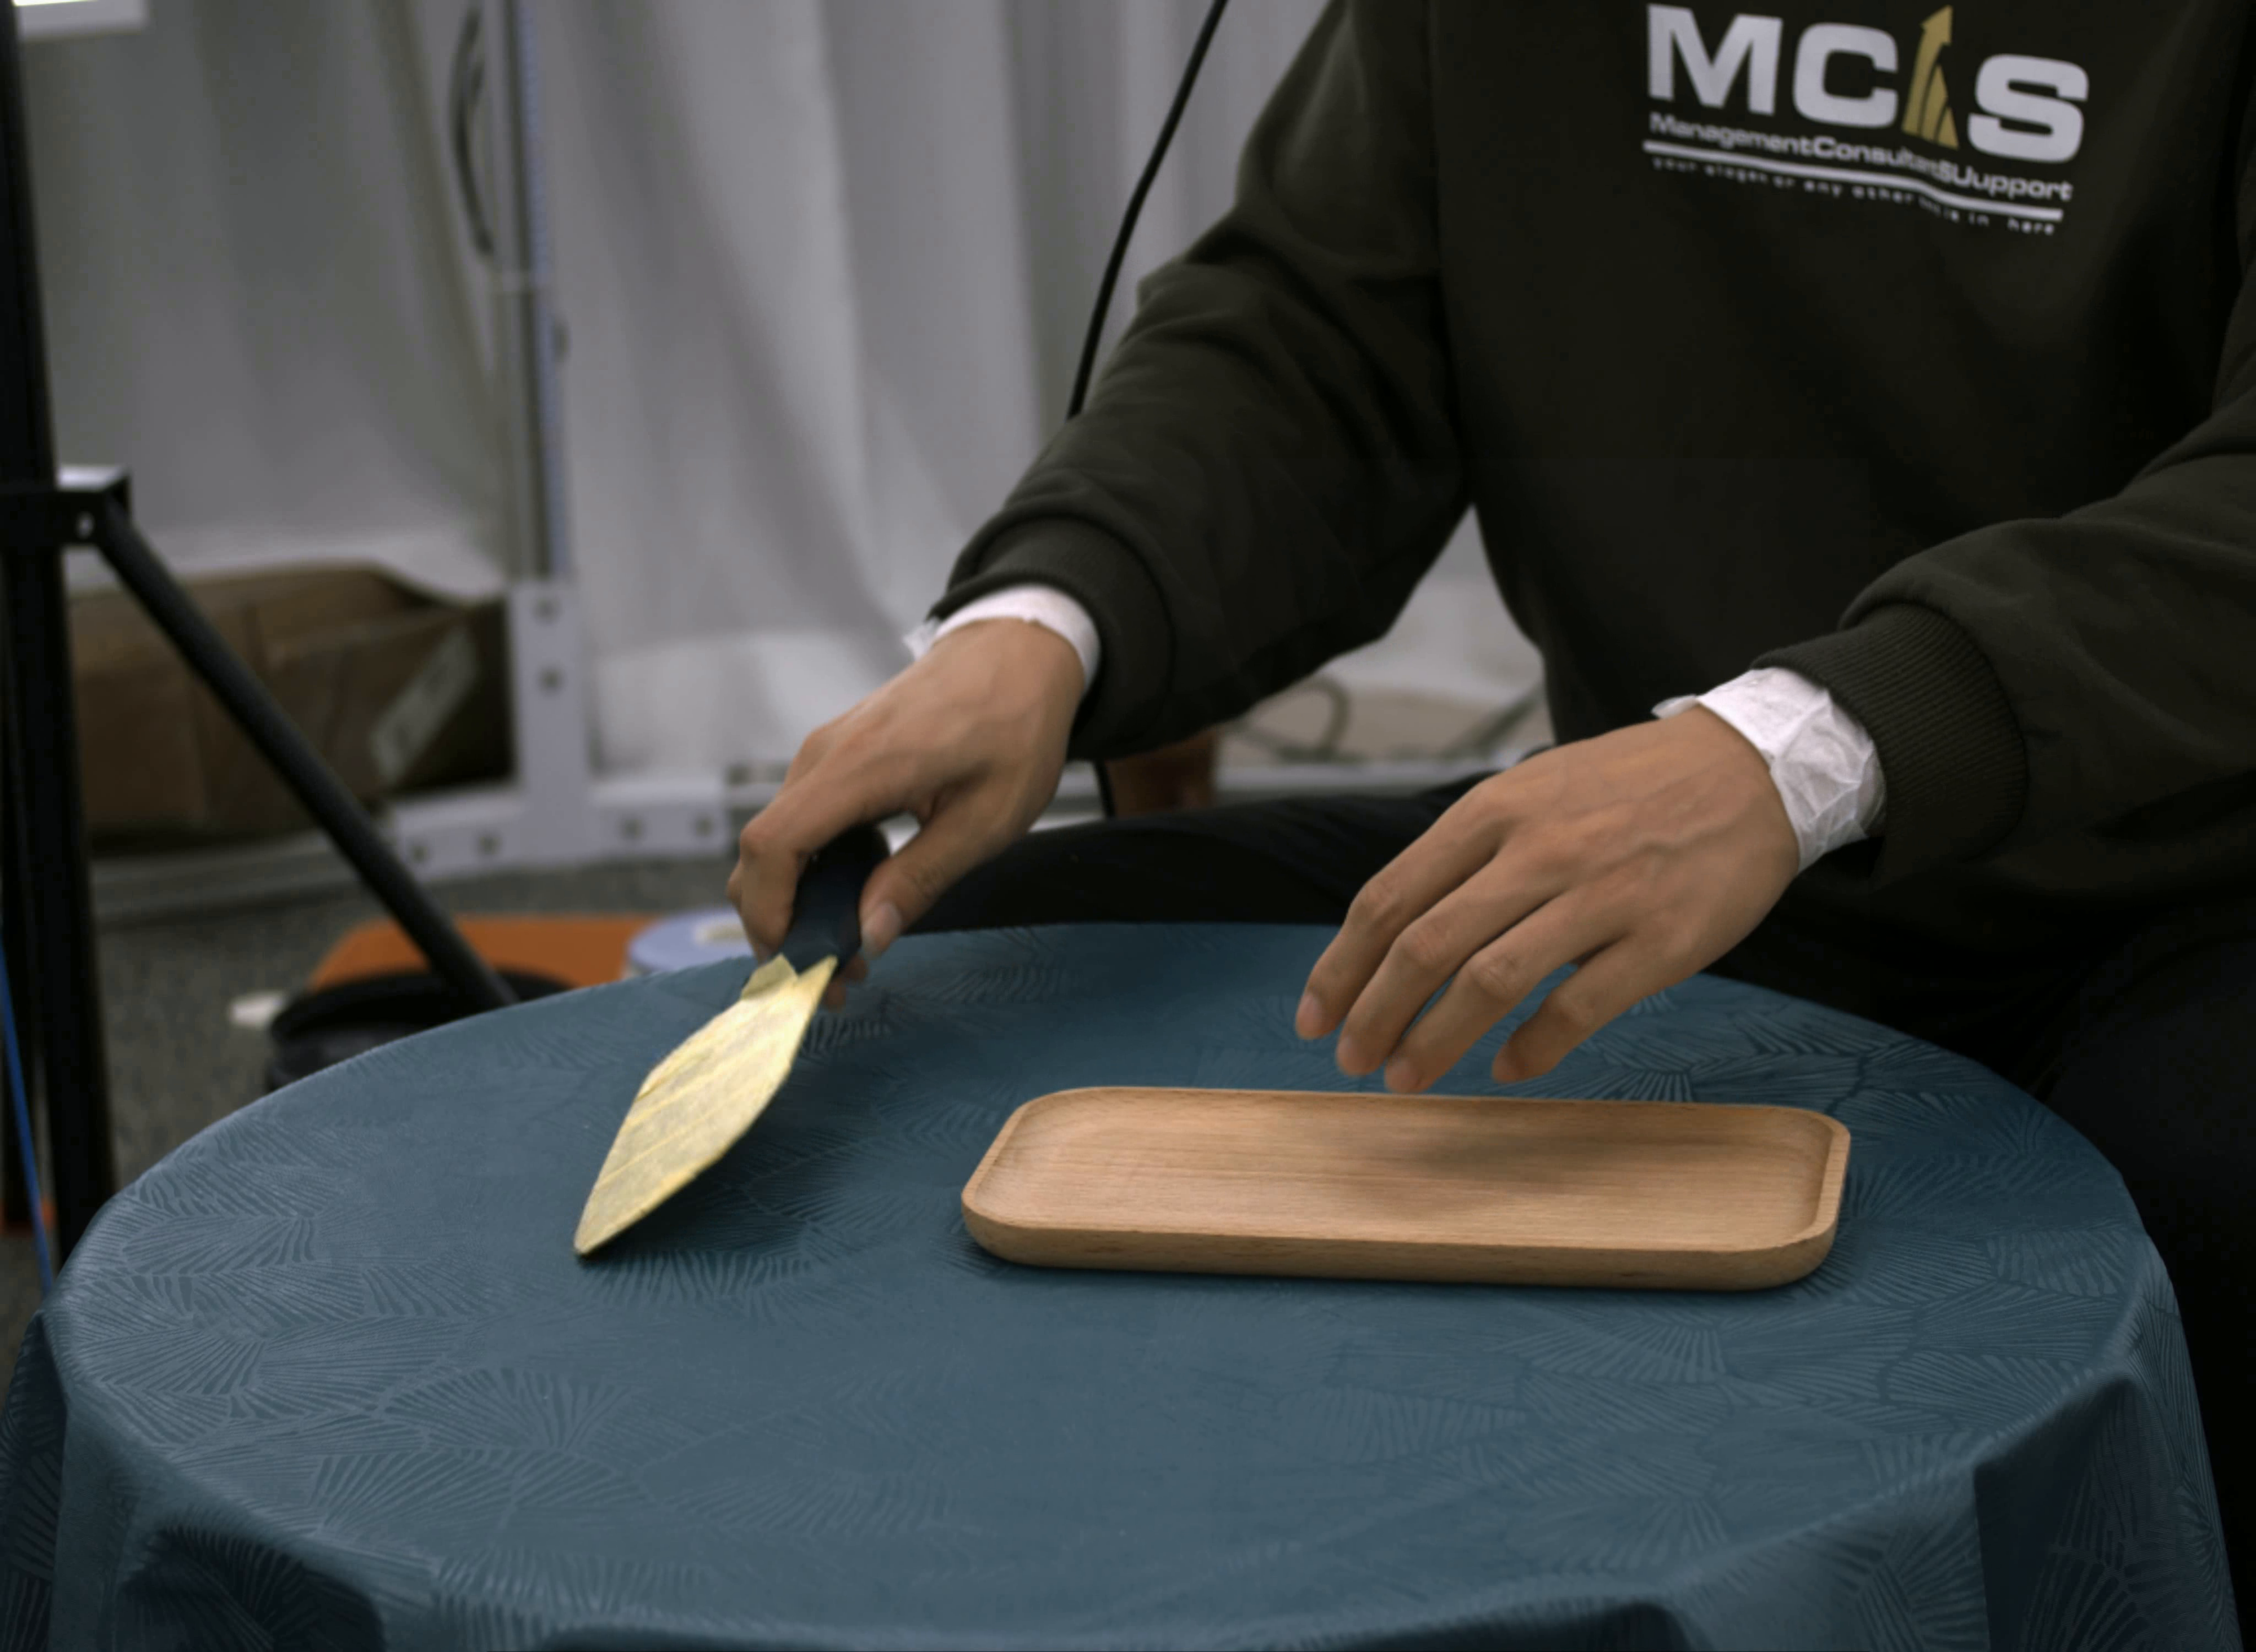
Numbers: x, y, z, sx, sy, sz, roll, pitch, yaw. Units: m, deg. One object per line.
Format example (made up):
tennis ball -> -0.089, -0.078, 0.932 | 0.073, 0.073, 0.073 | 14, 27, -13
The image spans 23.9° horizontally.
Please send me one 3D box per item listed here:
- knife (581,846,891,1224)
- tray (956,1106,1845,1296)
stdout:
knife -> -0.119, 0.064, 1.653 | 0.081, 0.027, 0.288 | -27, 12, 17
tray -> 0.080, 0.109, 1.531 | 0.252, 0.023, 0.129 | -2, 12, 13
